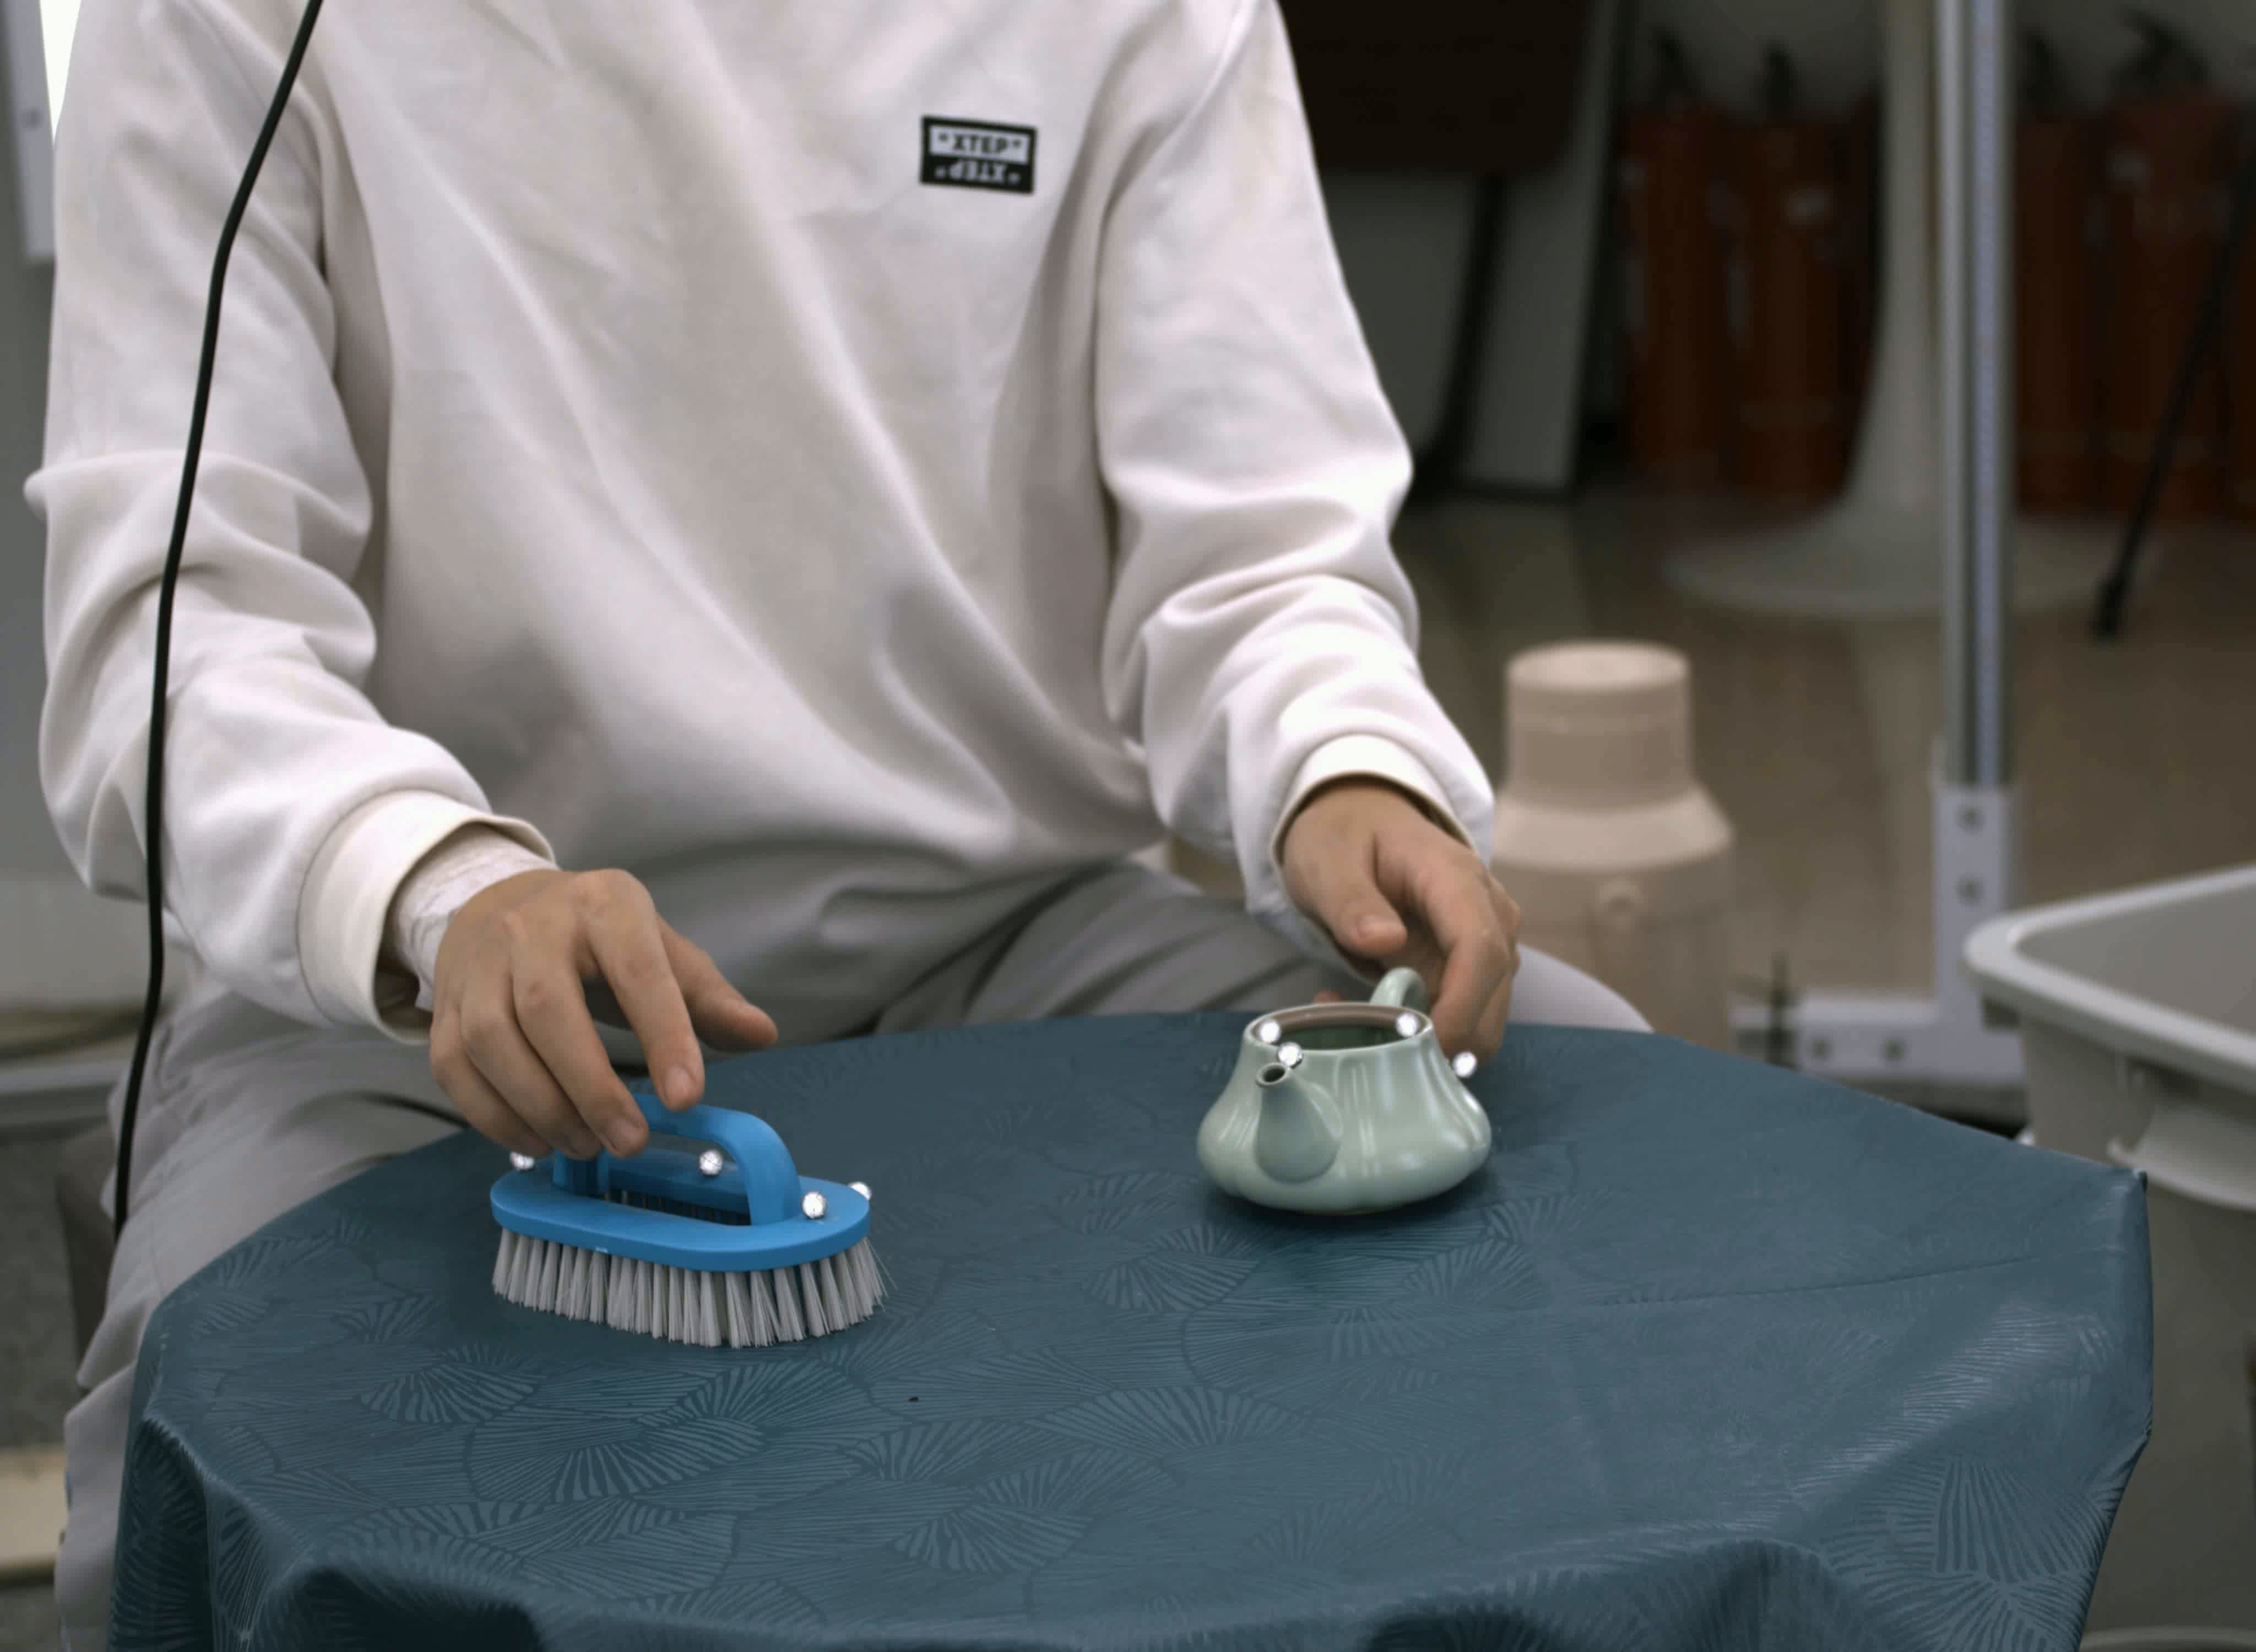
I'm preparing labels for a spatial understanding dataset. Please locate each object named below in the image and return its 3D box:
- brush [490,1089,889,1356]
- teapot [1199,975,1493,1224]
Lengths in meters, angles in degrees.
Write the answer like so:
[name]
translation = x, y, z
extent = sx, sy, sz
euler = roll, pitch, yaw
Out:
[brush]
translation = -0.141, 0.117, 1.695
extent = 0.143, 0.064, 0.083
euler = 6, 21, 40
[teapot]
translation = 0.072, 0.092, 1.756
extent = 0.096, 0.062, 0.135
euler = -1, 13, 22
